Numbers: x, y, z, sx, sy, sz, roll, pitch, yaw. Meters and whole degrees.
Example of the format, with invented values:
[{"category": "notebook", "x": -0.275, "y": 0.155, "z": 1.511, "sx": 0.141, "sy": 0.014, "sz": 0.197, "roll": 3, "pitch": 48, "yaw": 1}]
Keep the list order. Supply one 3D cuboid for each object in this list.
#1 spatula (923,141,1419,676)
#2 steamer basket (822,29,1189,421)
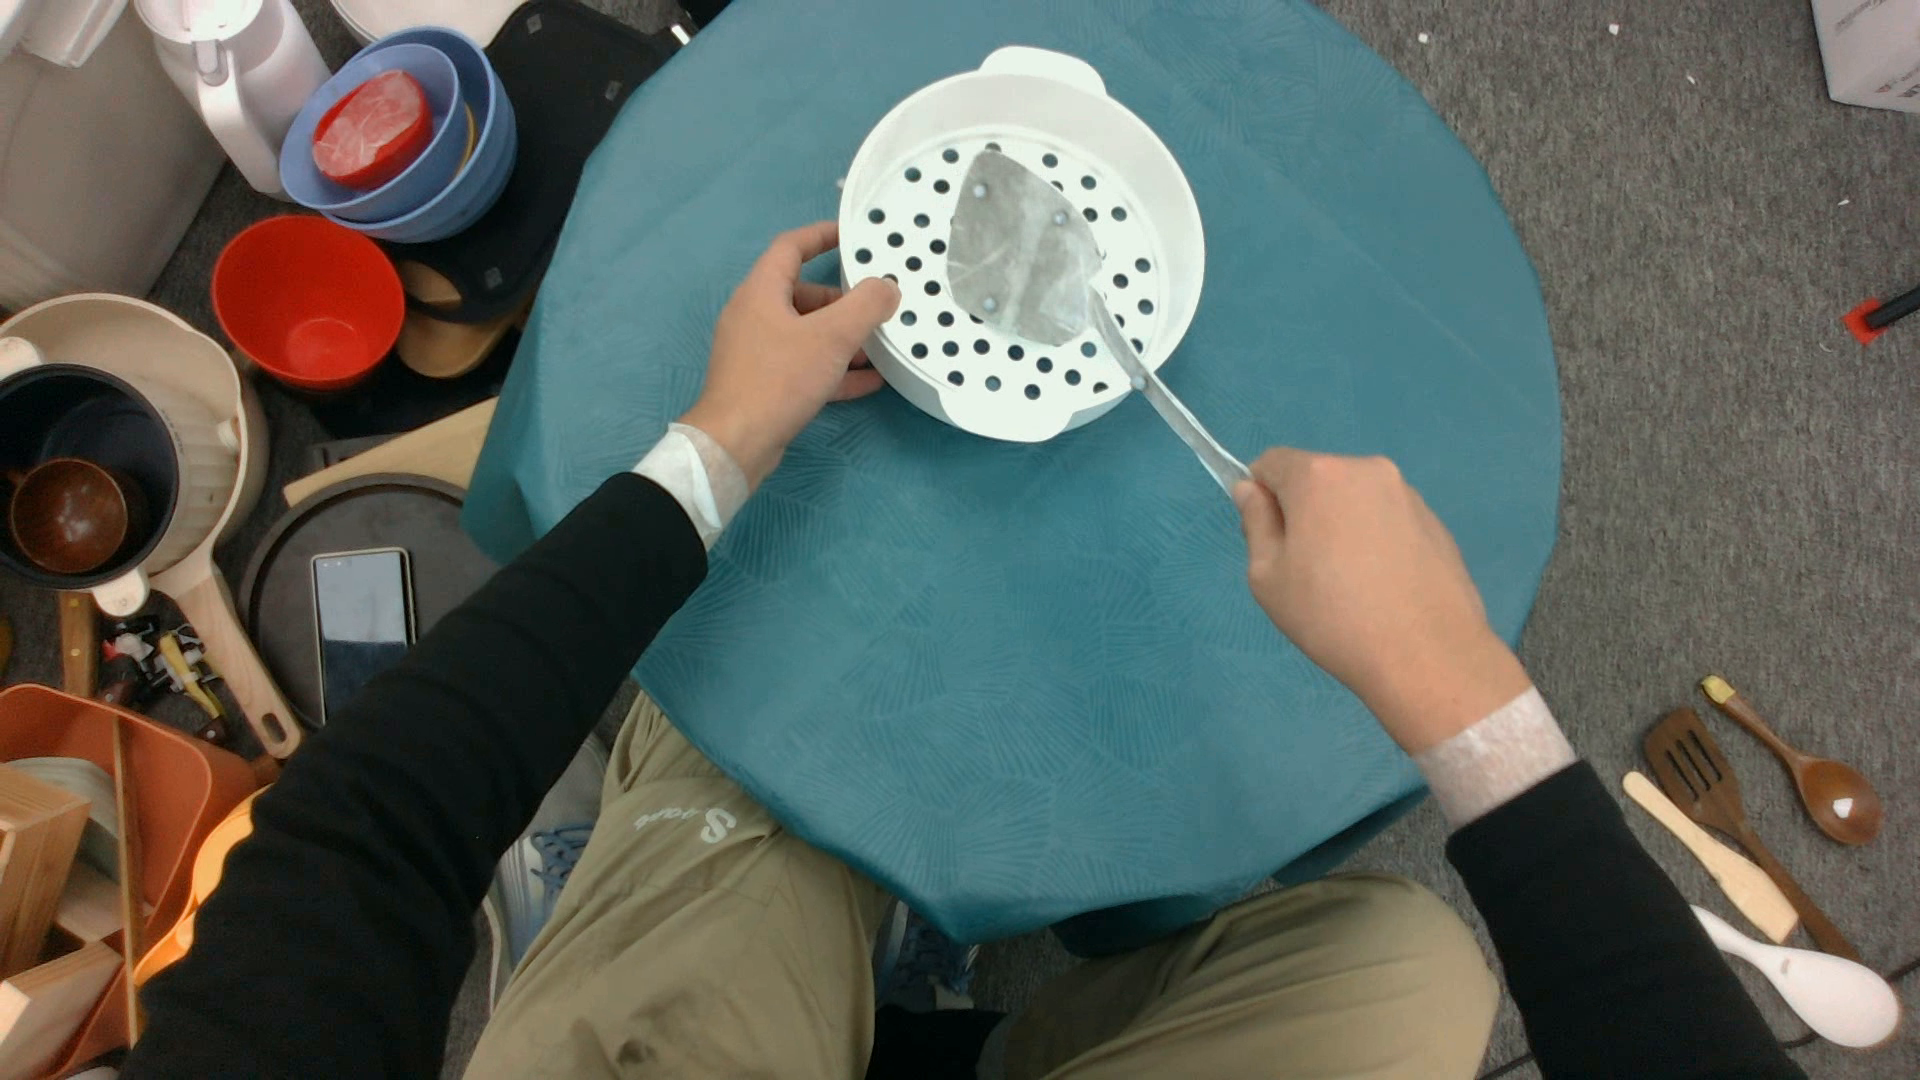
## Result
[{"category": "spatula", "x": 0.092, "y": -0.068, "z": 0.673, "sx": 0.045, "sy": 0.098, "sz": 0.365, "roll": -12, "pitch": 49, "yaw": -32}, {"category": "steamer basket", "x": 0.023, "y": -0.168, "z": 0.771, "sx": 0.202, "sy": 0.069, "sz": 0.231, "roll": 9, "pitch": 75, "yaw": -7}]
